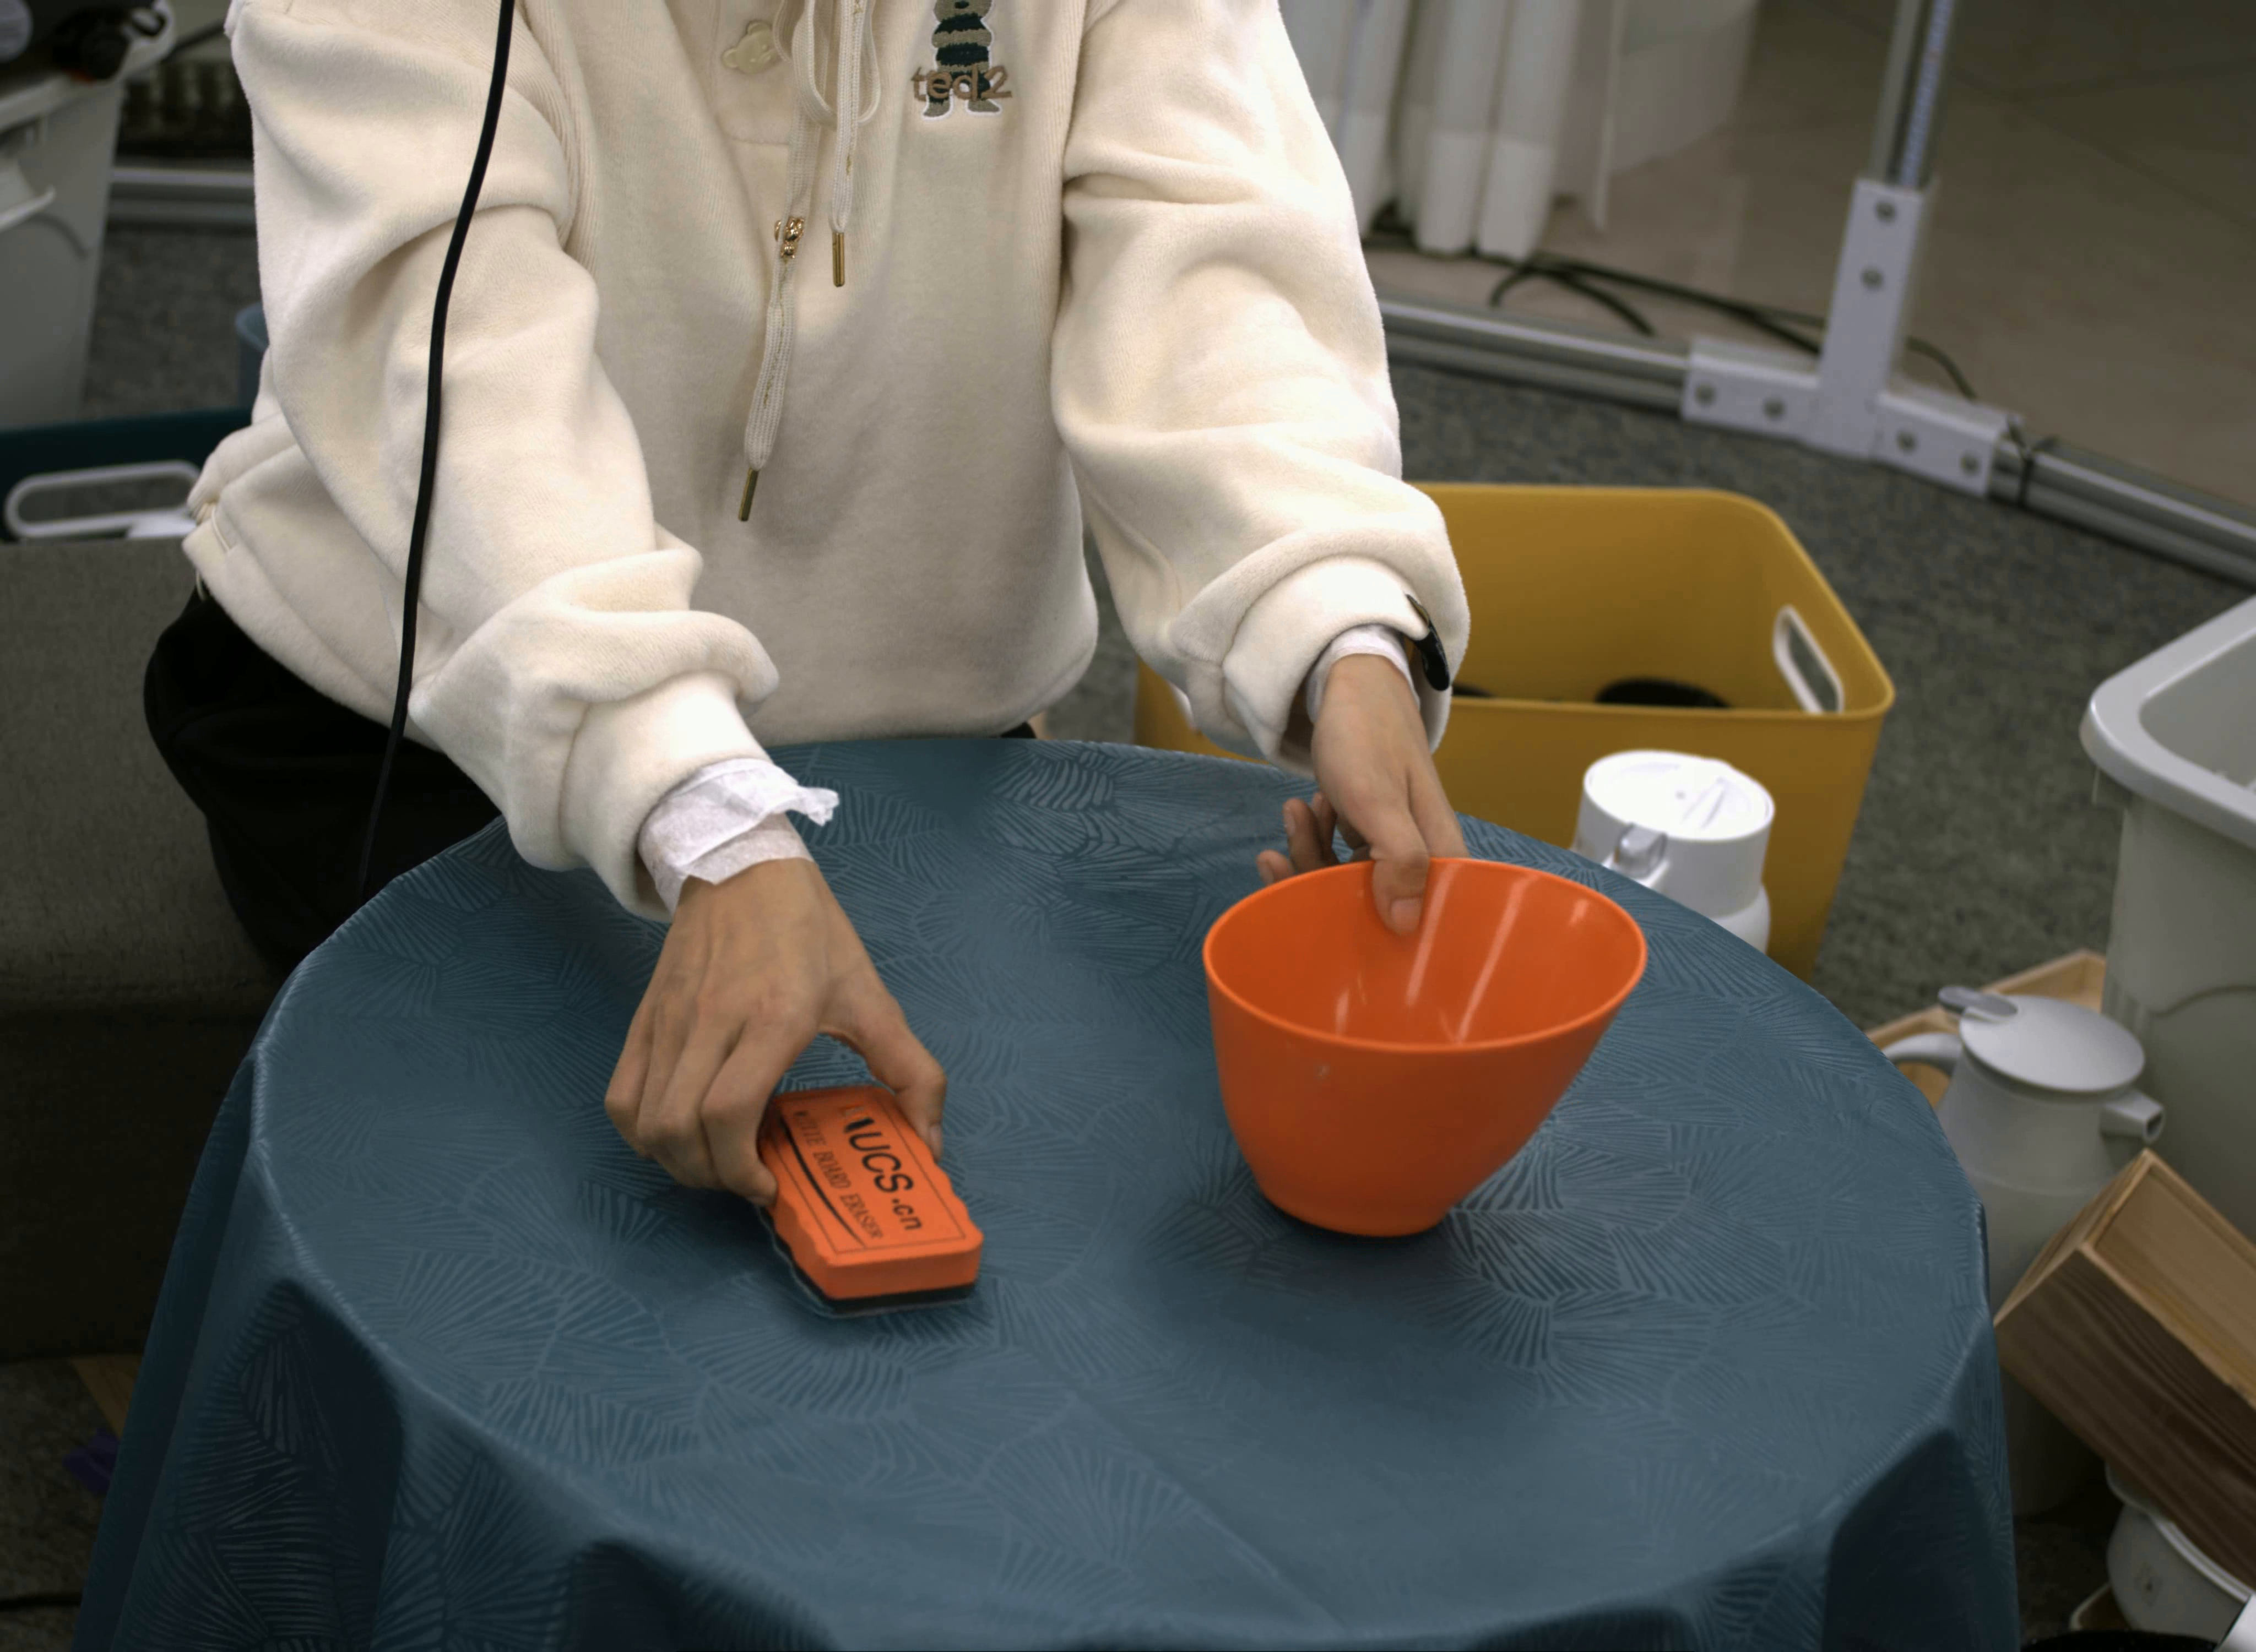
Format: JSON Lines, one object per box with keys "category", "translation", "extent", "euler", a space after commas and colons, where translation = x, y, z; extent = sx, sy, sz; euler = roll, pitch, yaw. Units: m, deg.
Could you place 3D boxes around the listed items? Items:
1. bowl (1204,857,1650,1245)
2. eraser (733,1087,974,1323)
{"category": "bowl", "translation": [0.095, 0.081, 1.793], "extent": [0.147, 0.104, 0.149], "euler": [7, 24, -3]}
{"category": "eraser", "translation": [-0.091, 0.124, 1.755], "extent": [0.058, 0.023, 0.109], "euler": [-5, 29, -18]}
